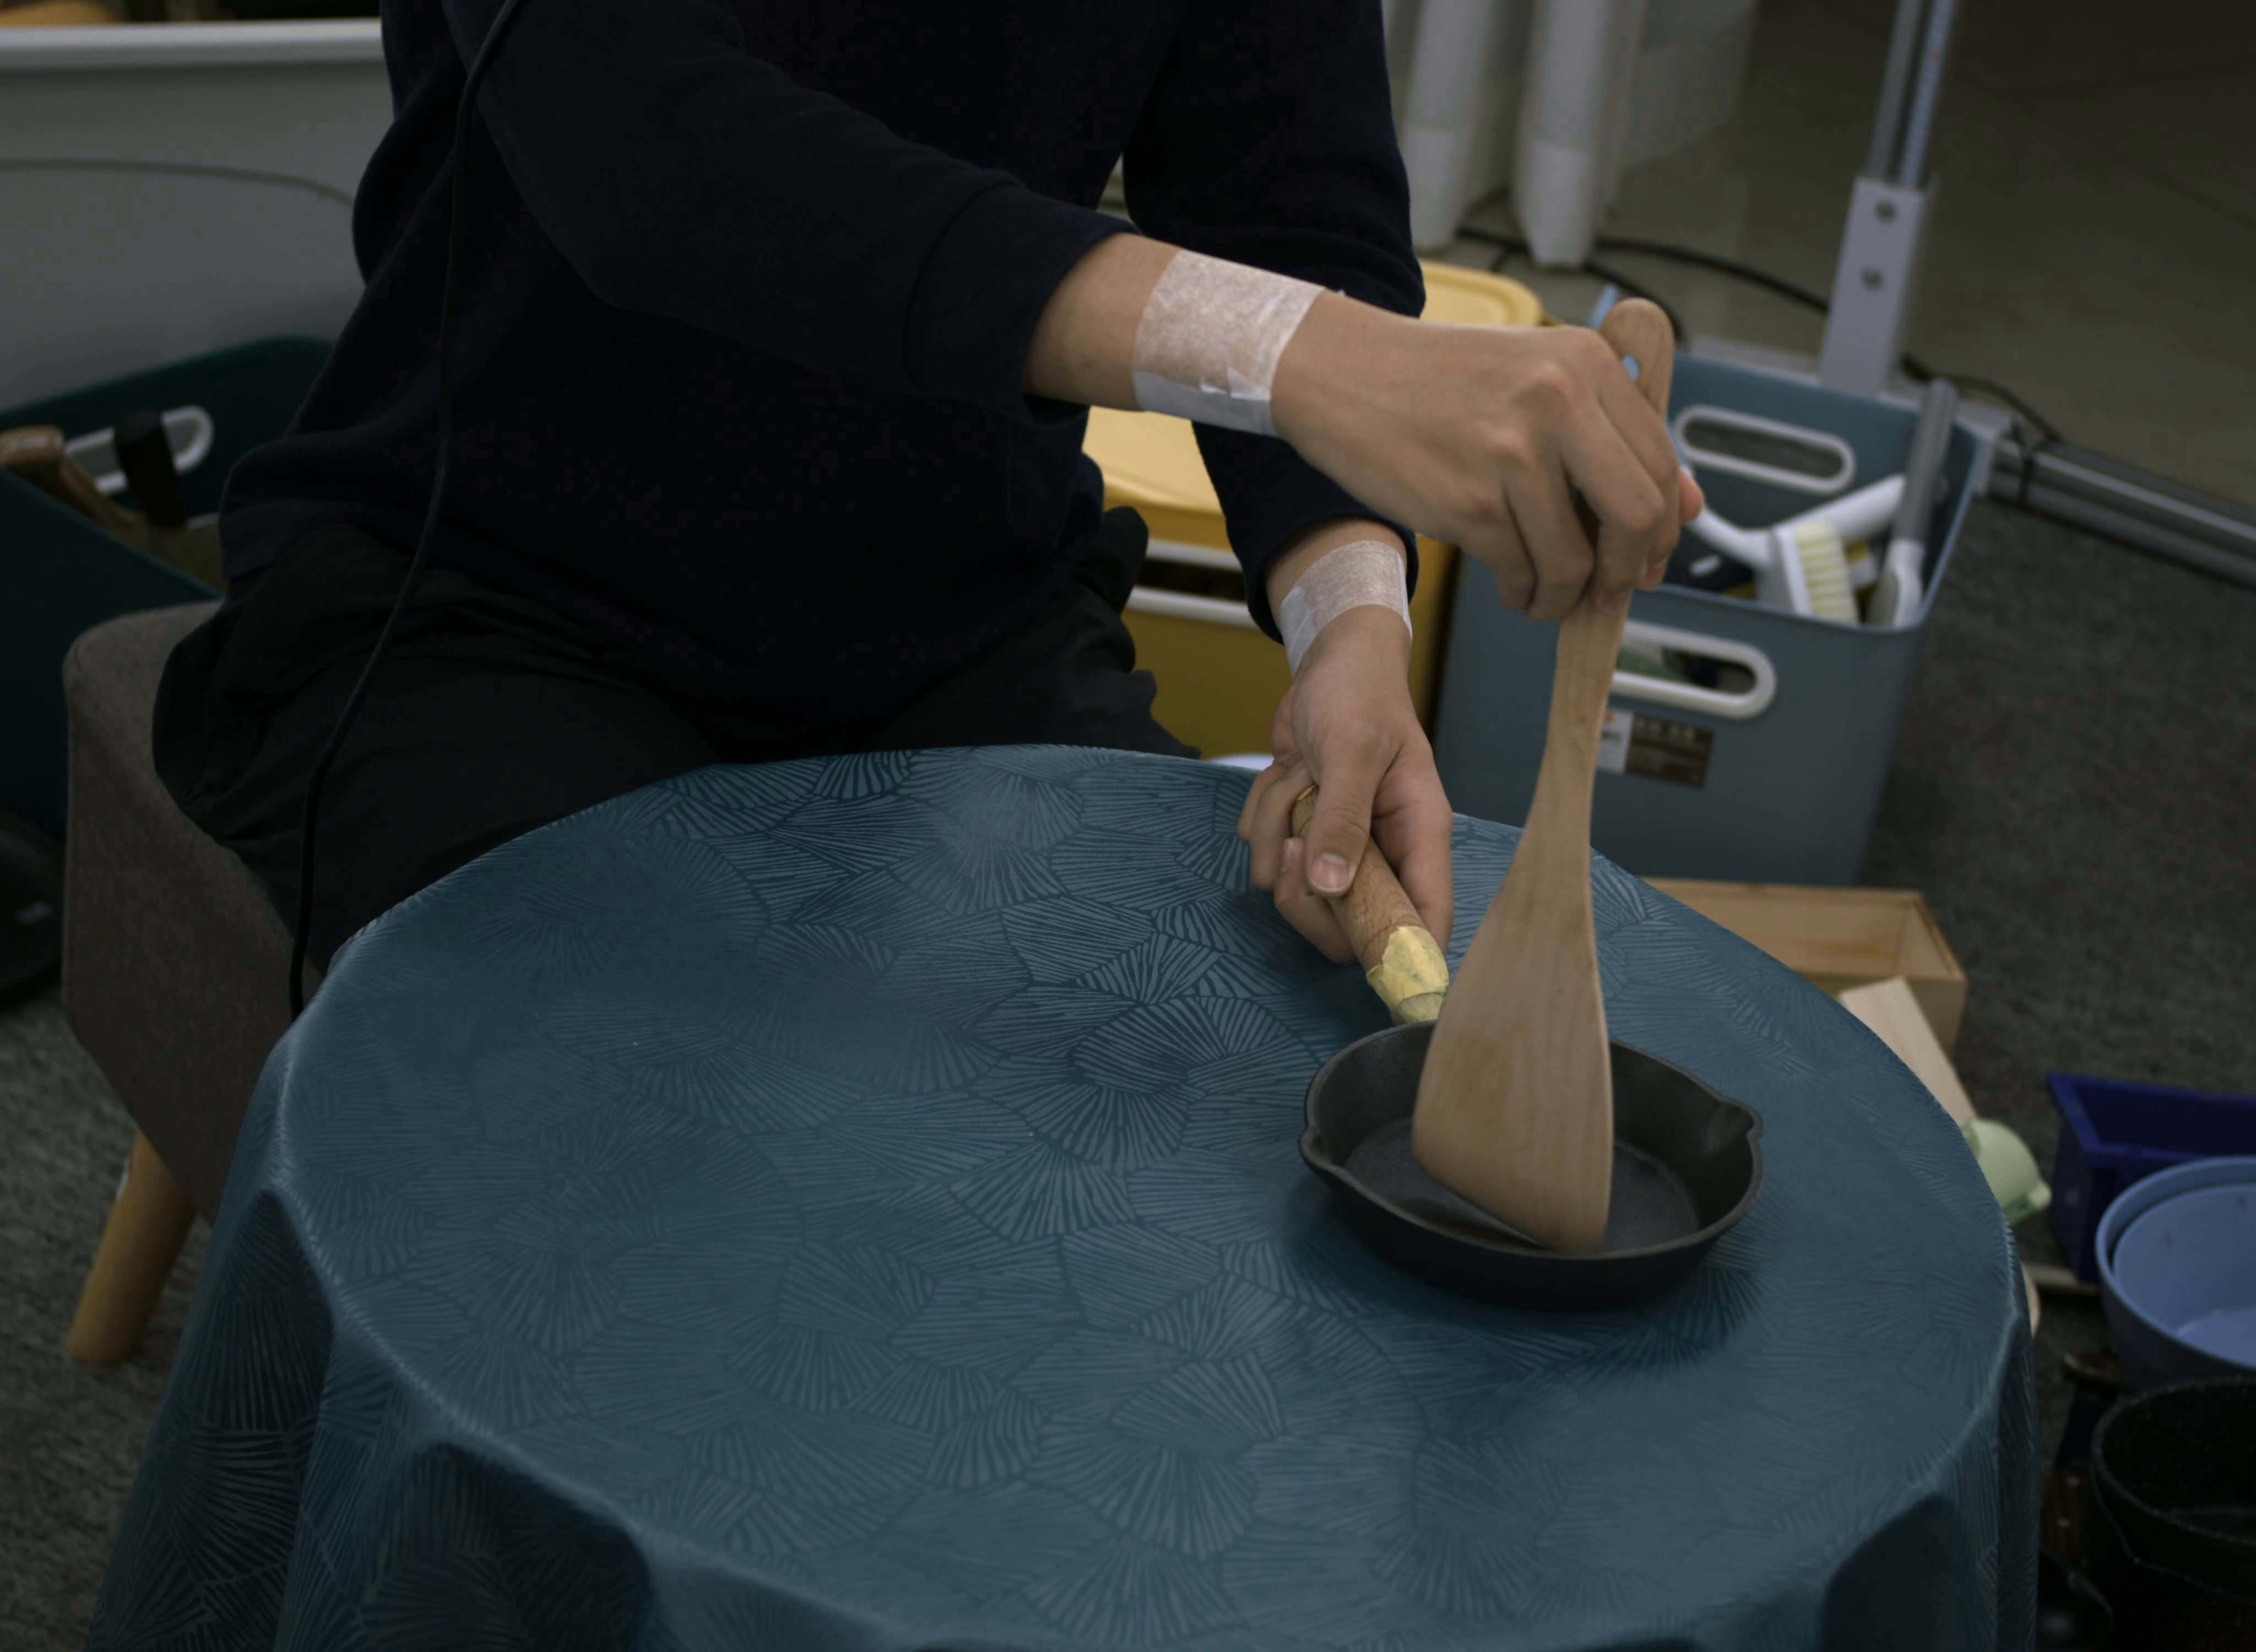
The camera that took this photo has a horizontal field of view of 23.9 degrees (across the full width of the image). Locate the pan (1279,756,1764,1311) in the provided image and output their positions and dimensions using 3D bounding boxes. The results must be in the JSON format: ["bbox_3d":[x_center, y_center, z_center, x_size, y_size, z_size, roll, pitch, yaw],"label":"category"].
[{"bbox_3d":[0.113,0.070,1.876,0.168,0.049,0.327,-2,30,-17],"label":"pan"}]

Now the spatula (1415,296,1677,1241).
[{"bbox_3d":[0.146,-0.014,1.752,0.080,0.327,0.016,17,18,32],"label":"spatula"}]
